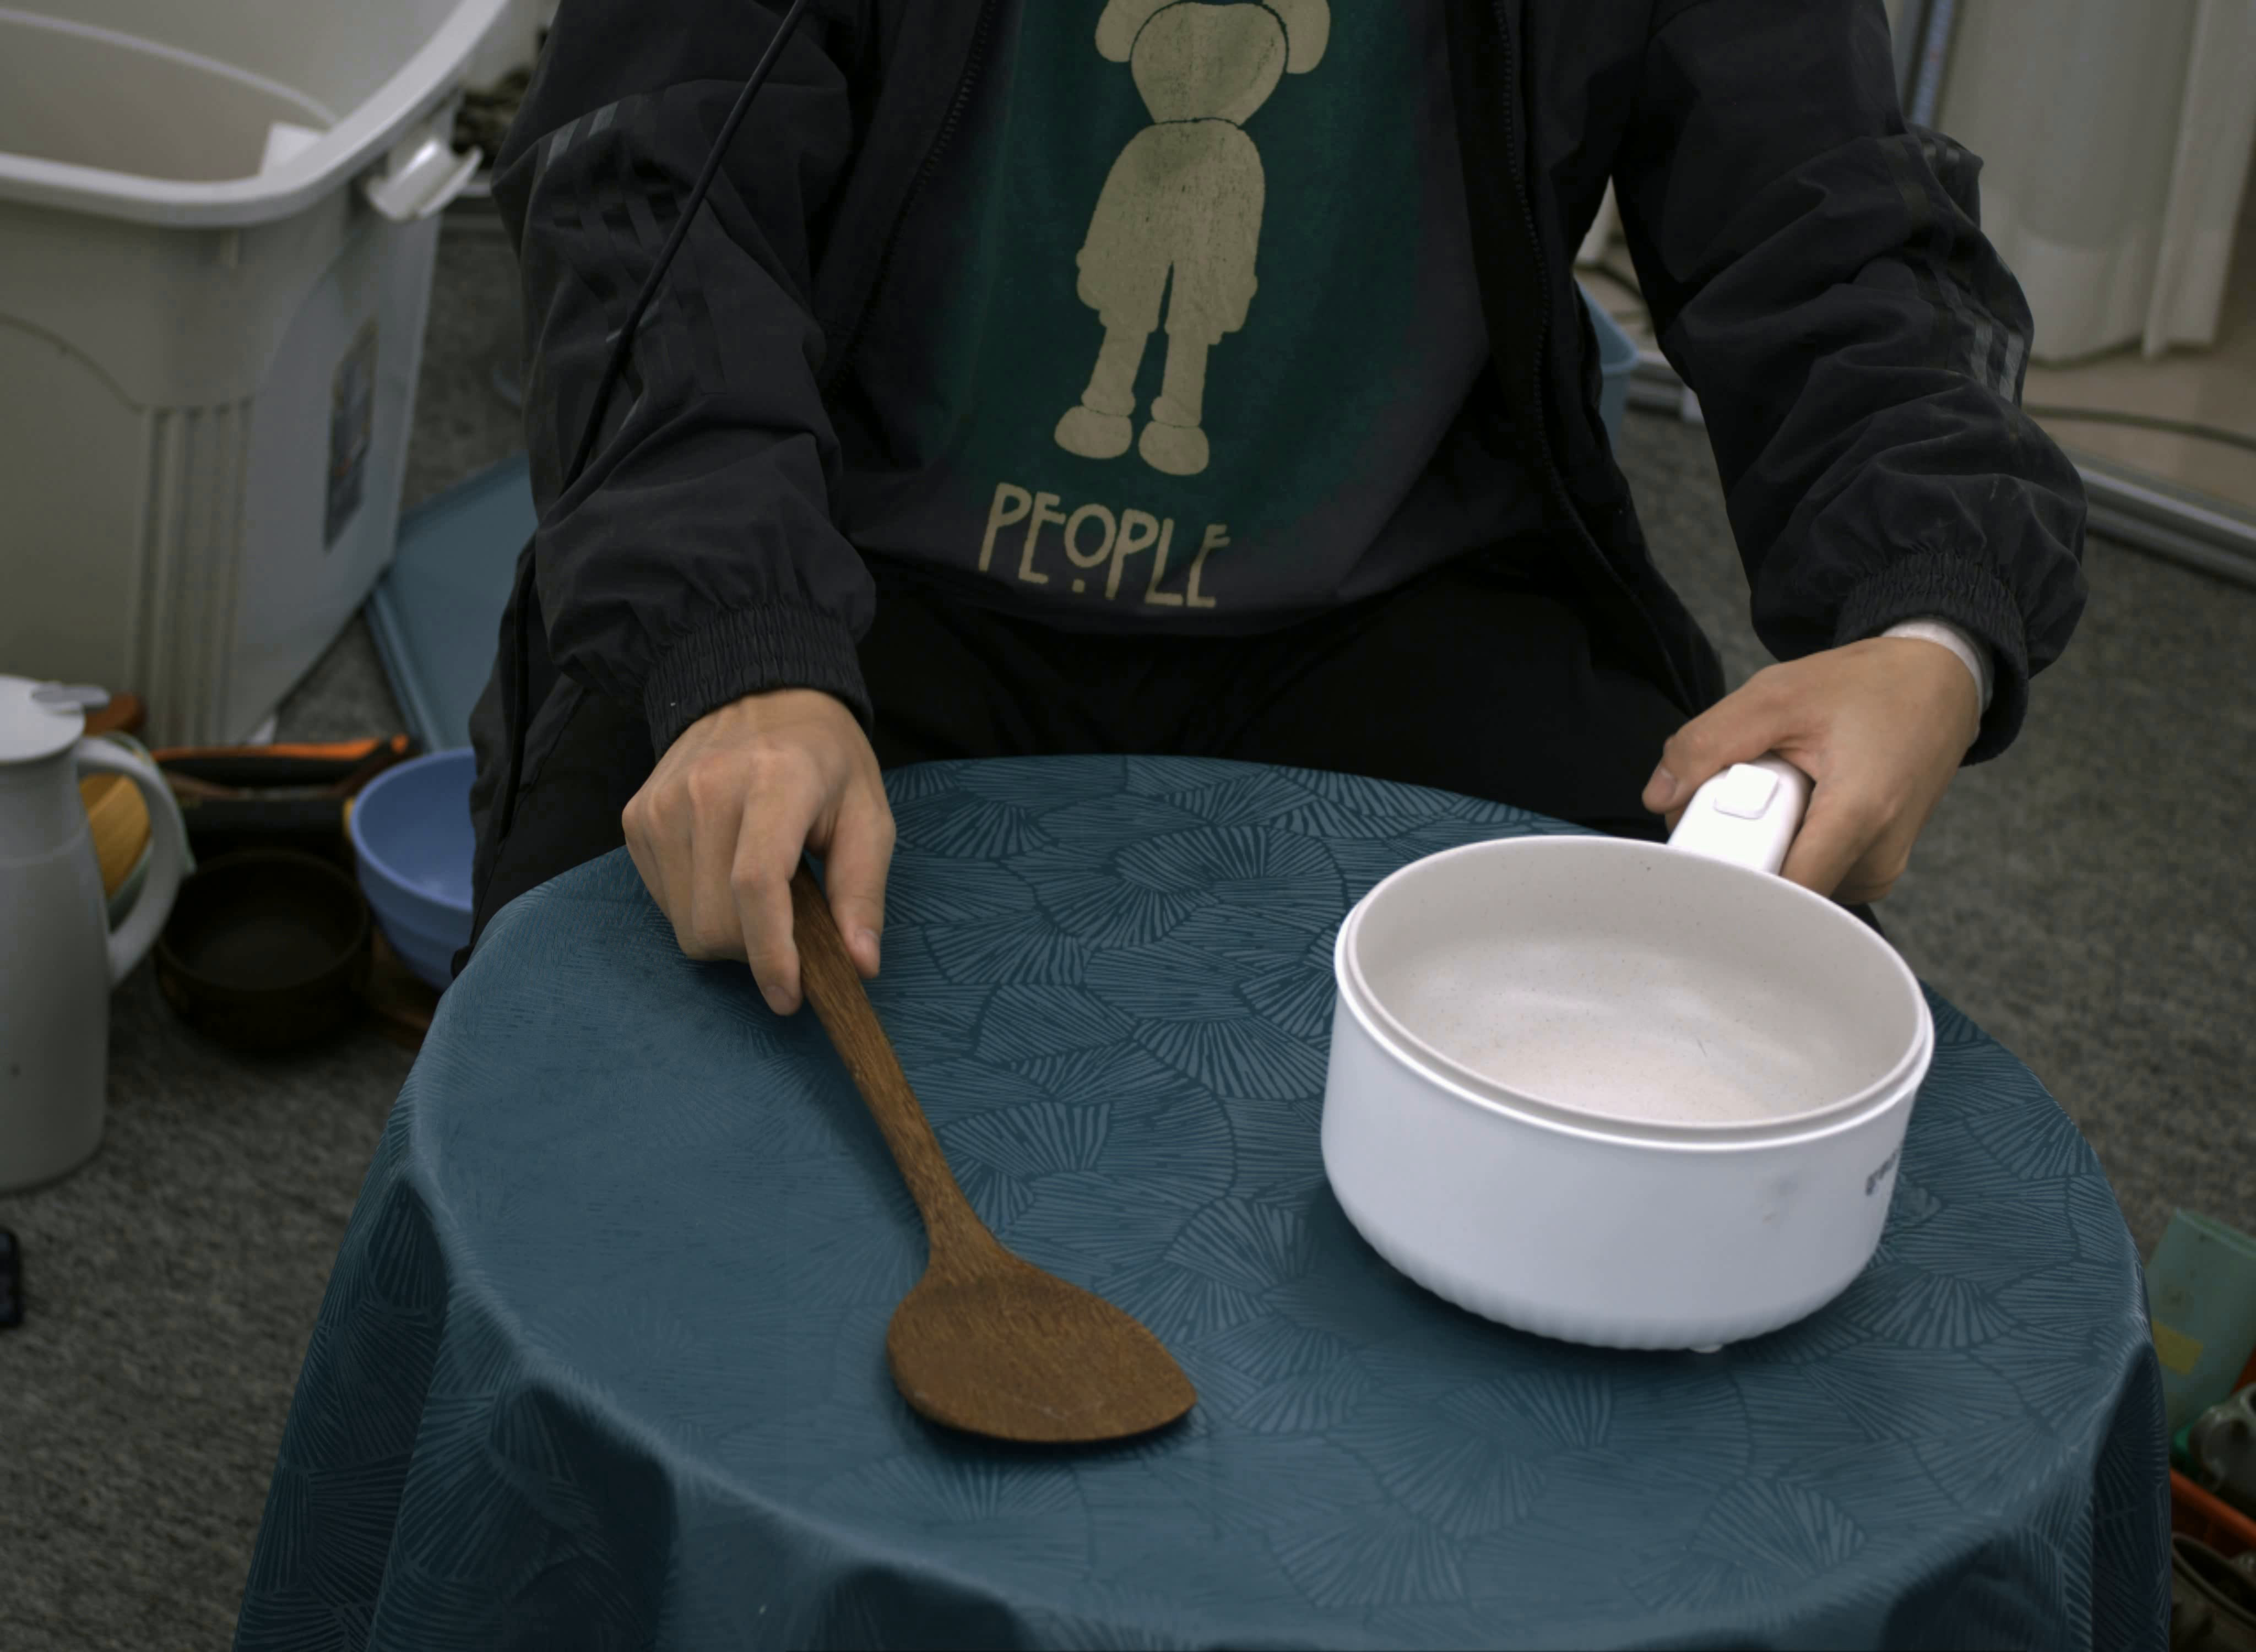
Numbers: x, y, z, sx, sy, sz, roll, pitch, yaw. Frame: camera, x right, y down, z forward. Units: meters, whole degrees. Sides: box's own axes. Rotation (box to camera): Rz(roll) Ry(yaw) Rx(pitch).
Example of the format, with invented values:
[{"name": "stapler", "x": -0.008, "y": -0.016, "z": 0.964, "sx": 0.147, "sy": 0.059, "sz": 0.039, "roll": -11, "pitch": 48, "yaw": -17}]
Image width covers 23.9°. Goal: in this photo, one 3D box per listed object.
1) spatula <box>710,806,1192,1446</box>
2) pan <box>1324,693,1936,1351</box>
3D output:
[{"name": "spatula", "x": -0.081, "y": 0.093, "z": 1.806, "sx": 0.095, "sy": 0.016, "sz": 0.389, "roll": 0, "pitch": 31, "yaw": -23}, {"name": "pan", "x": 0.190, "y": 0.063, "z": 1.856, "sx": 0.201, "sy": 0.102, "sz": 0.355, "roll": 14, "pitch": 27, "yaw": 15}]
